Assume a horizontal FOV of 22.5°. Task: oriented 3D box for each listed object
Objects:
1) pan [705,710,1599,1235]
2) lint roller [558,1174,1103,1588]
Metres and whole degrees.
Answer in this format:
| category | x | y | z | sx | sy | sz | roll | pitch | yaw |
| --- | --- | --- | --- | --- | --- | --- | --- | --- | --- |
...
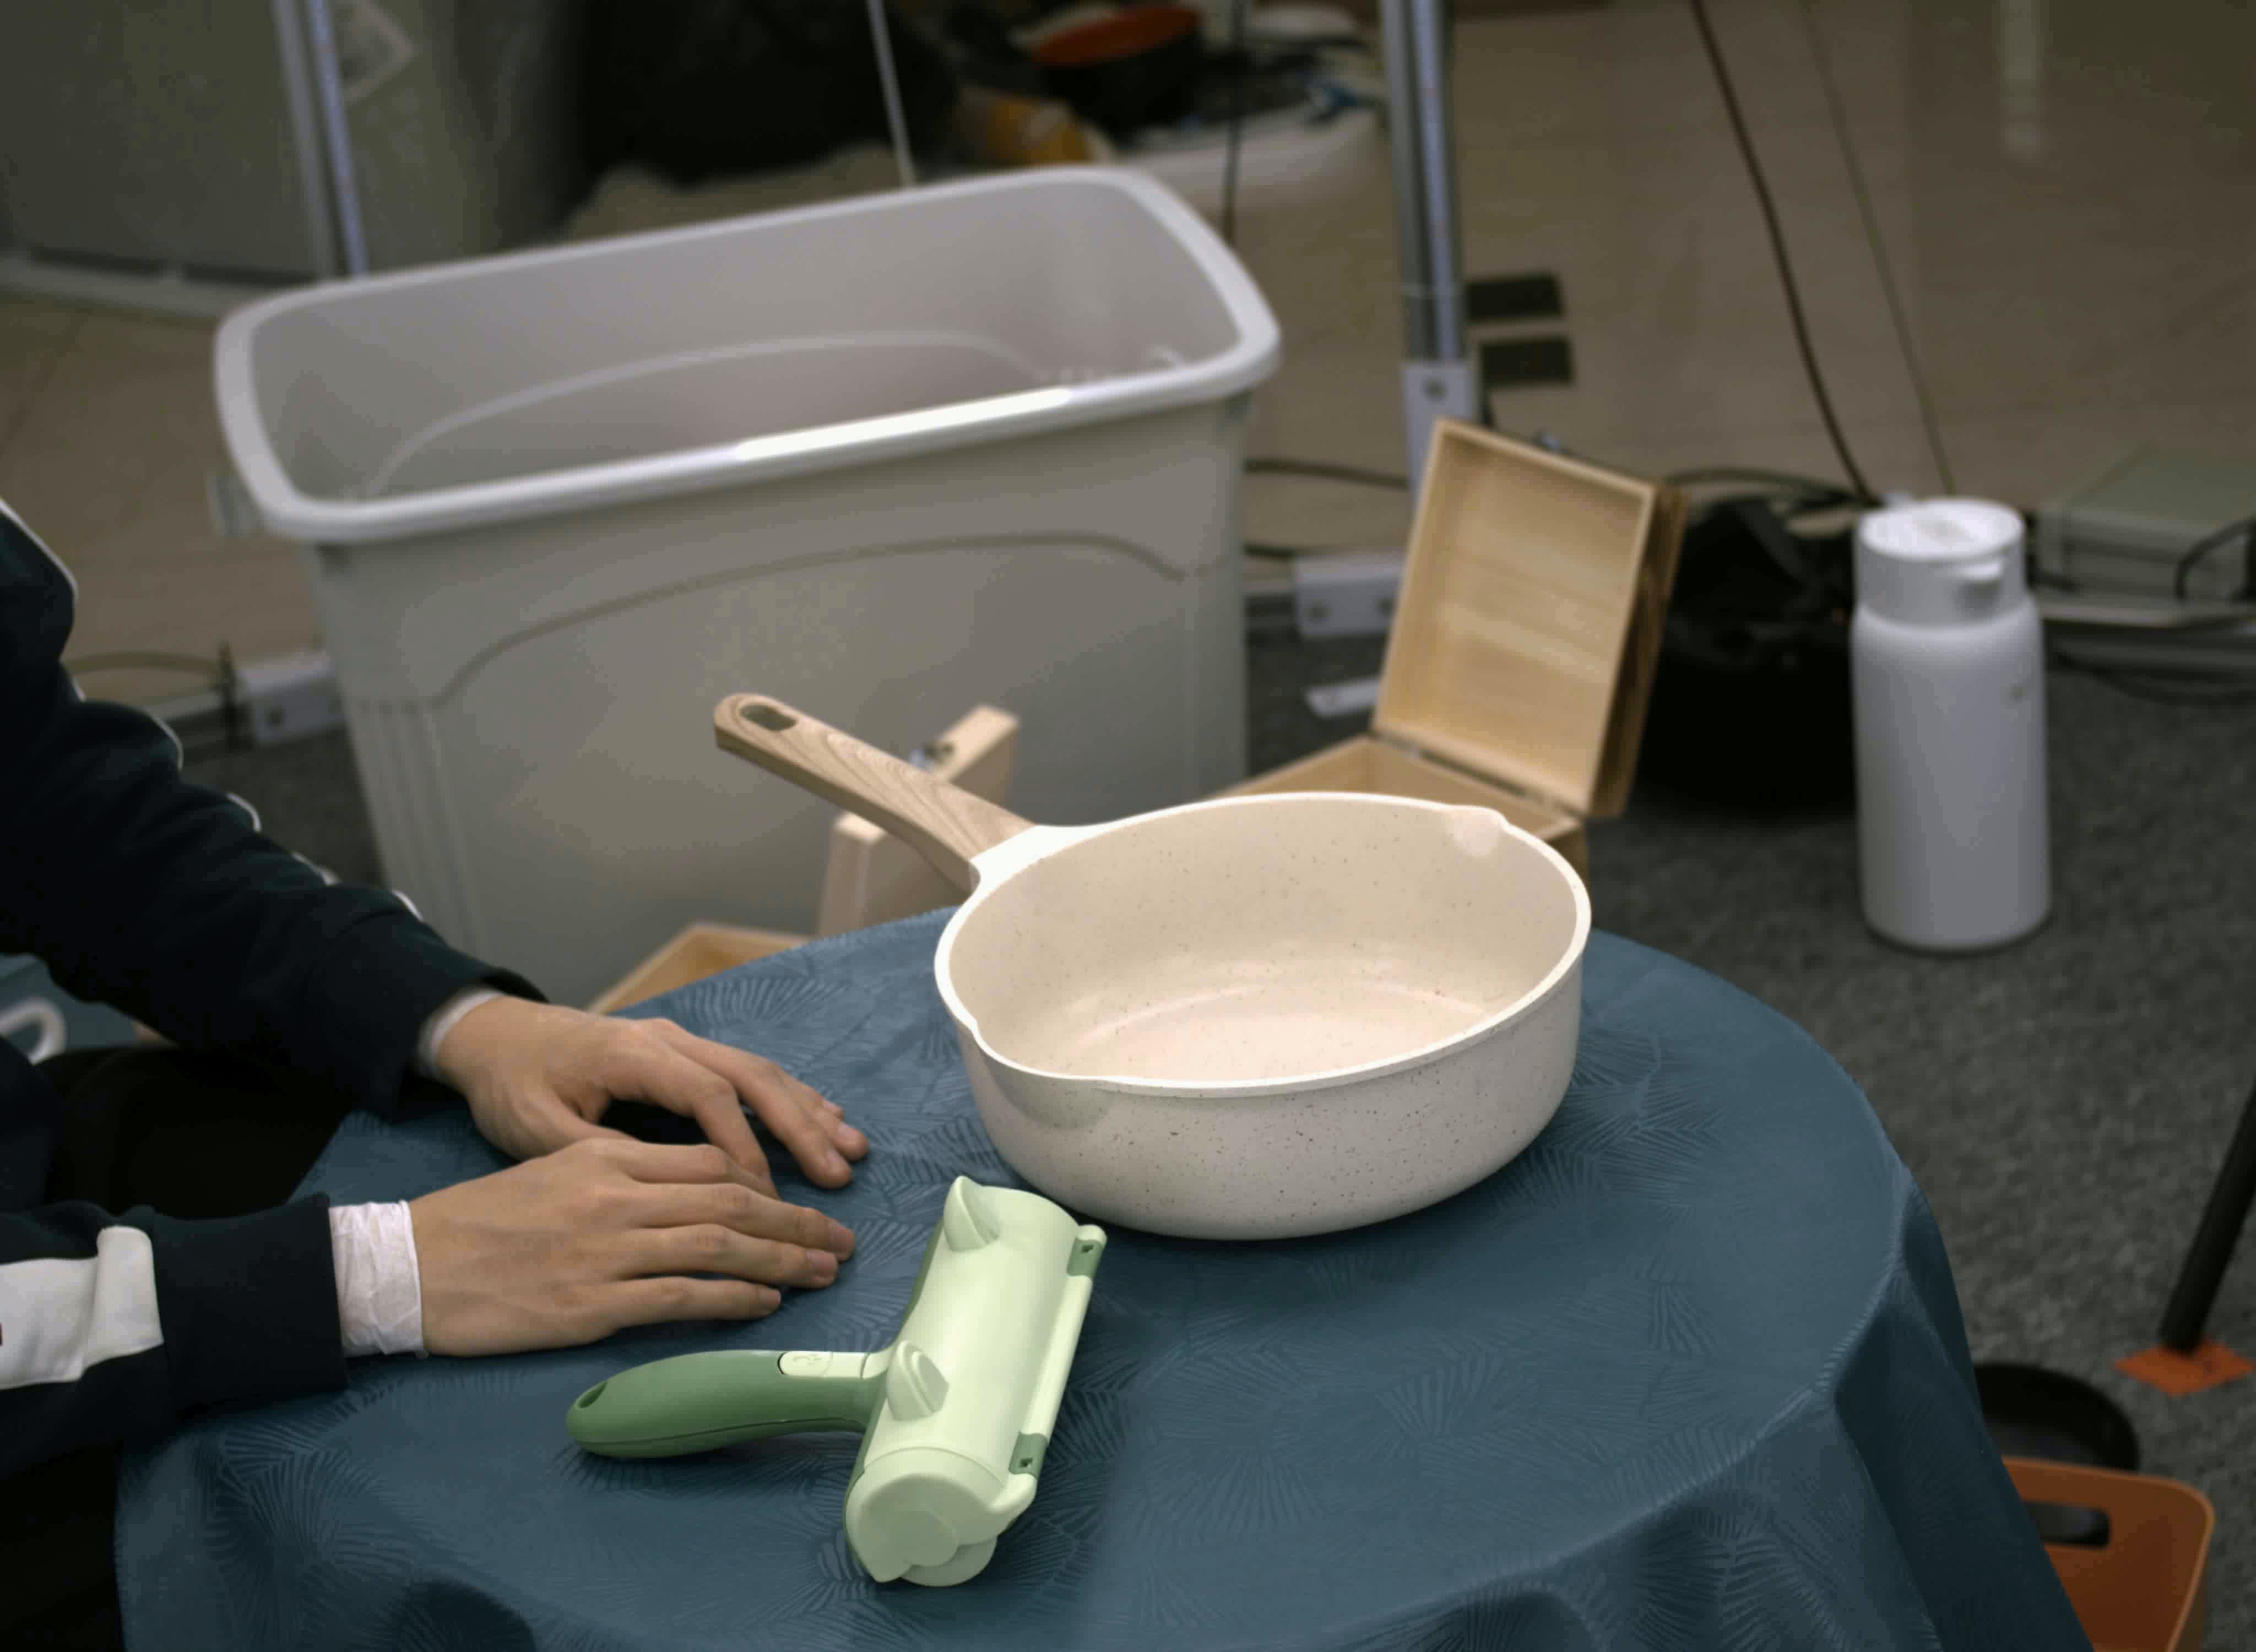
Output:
| category | x | y | z | sx | sy | sz | roll | pitch | yaw |
| --- | --- | --- | --- | --- | --- | --- | --- | --- | --- |
| pan | -0.008 | 0.046 | 2.226 | 0.431 | 0.103 | 0.261 | 18 | 36 | 42 |
| lint roller | -0.111 | 0.184 | 1.984 | 0.183 | 0.083 | 0.195 | 3 | 26 | 7 |
